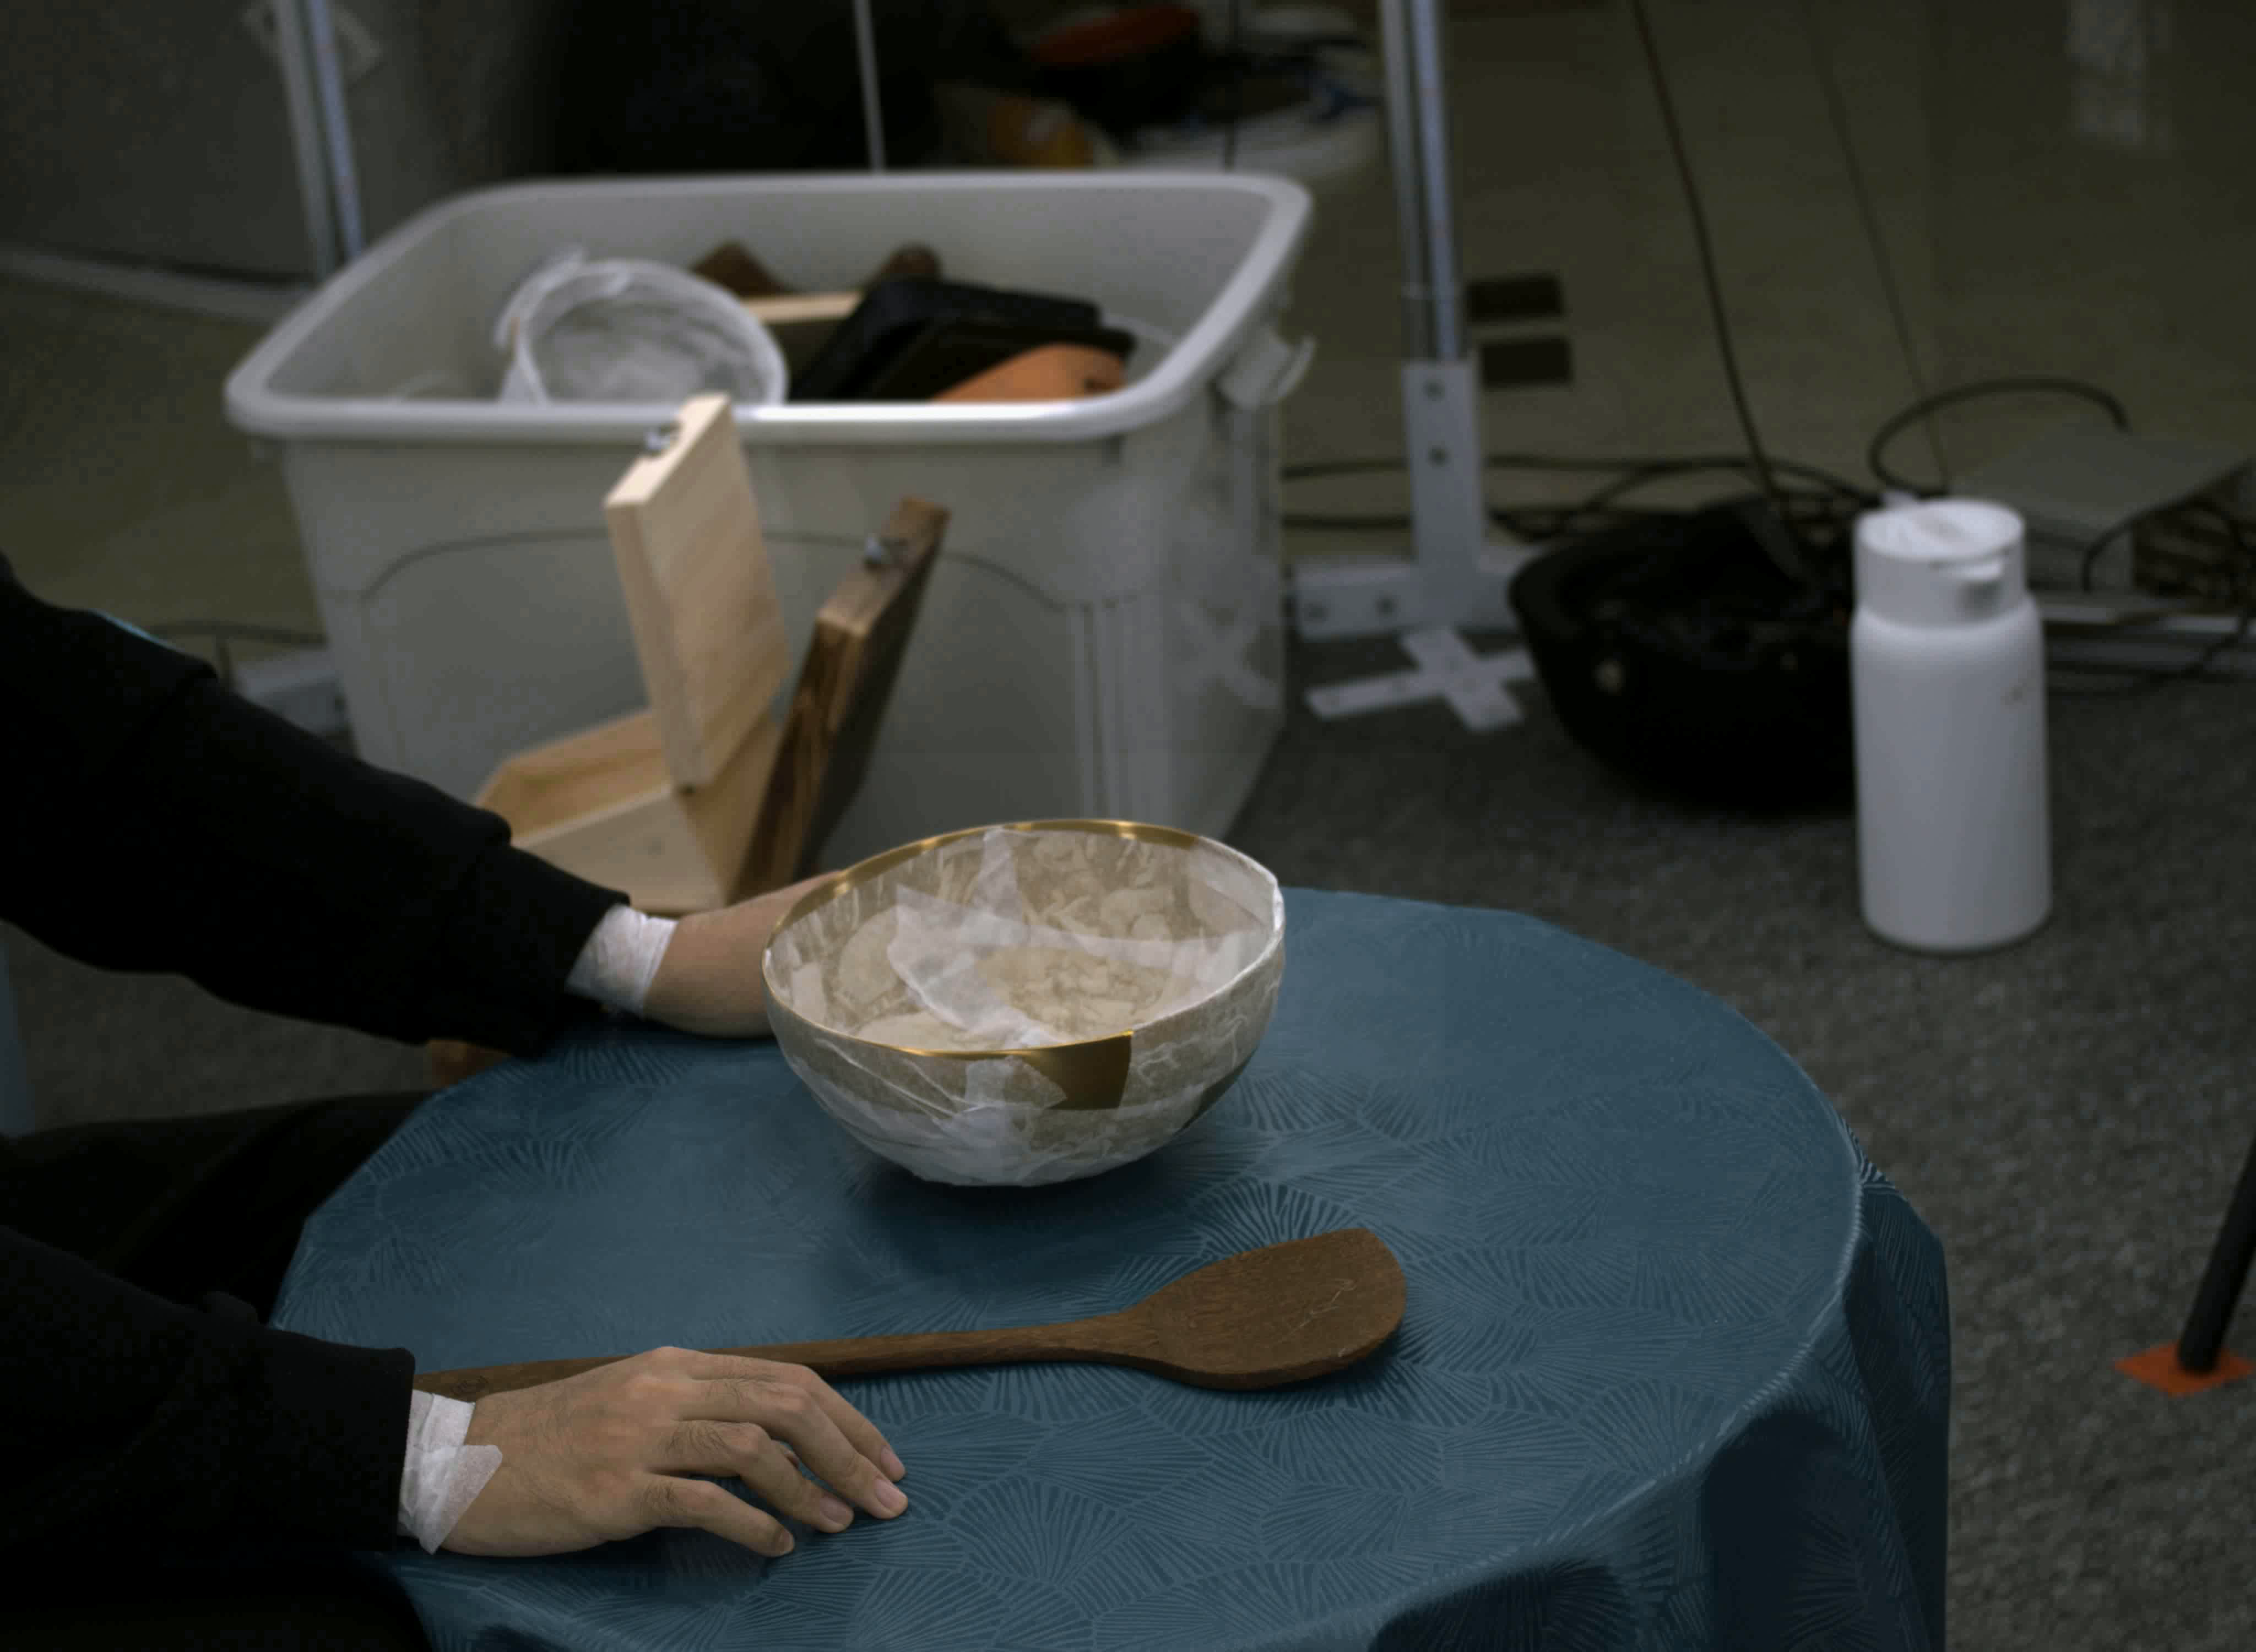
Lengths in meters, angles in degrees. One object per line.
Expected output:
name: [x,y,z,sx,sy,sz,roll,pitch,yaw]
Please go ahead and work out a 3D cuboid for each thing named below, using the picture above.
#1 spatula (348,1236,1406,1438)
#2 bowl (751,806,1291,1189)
spatula: [-0.092,0.191,2.047,0.385,0.016,0.095,-6,25,2]
bowl: [-0.037,0.078,2.179,0.214,0.096,0.211,-6,26,3]
